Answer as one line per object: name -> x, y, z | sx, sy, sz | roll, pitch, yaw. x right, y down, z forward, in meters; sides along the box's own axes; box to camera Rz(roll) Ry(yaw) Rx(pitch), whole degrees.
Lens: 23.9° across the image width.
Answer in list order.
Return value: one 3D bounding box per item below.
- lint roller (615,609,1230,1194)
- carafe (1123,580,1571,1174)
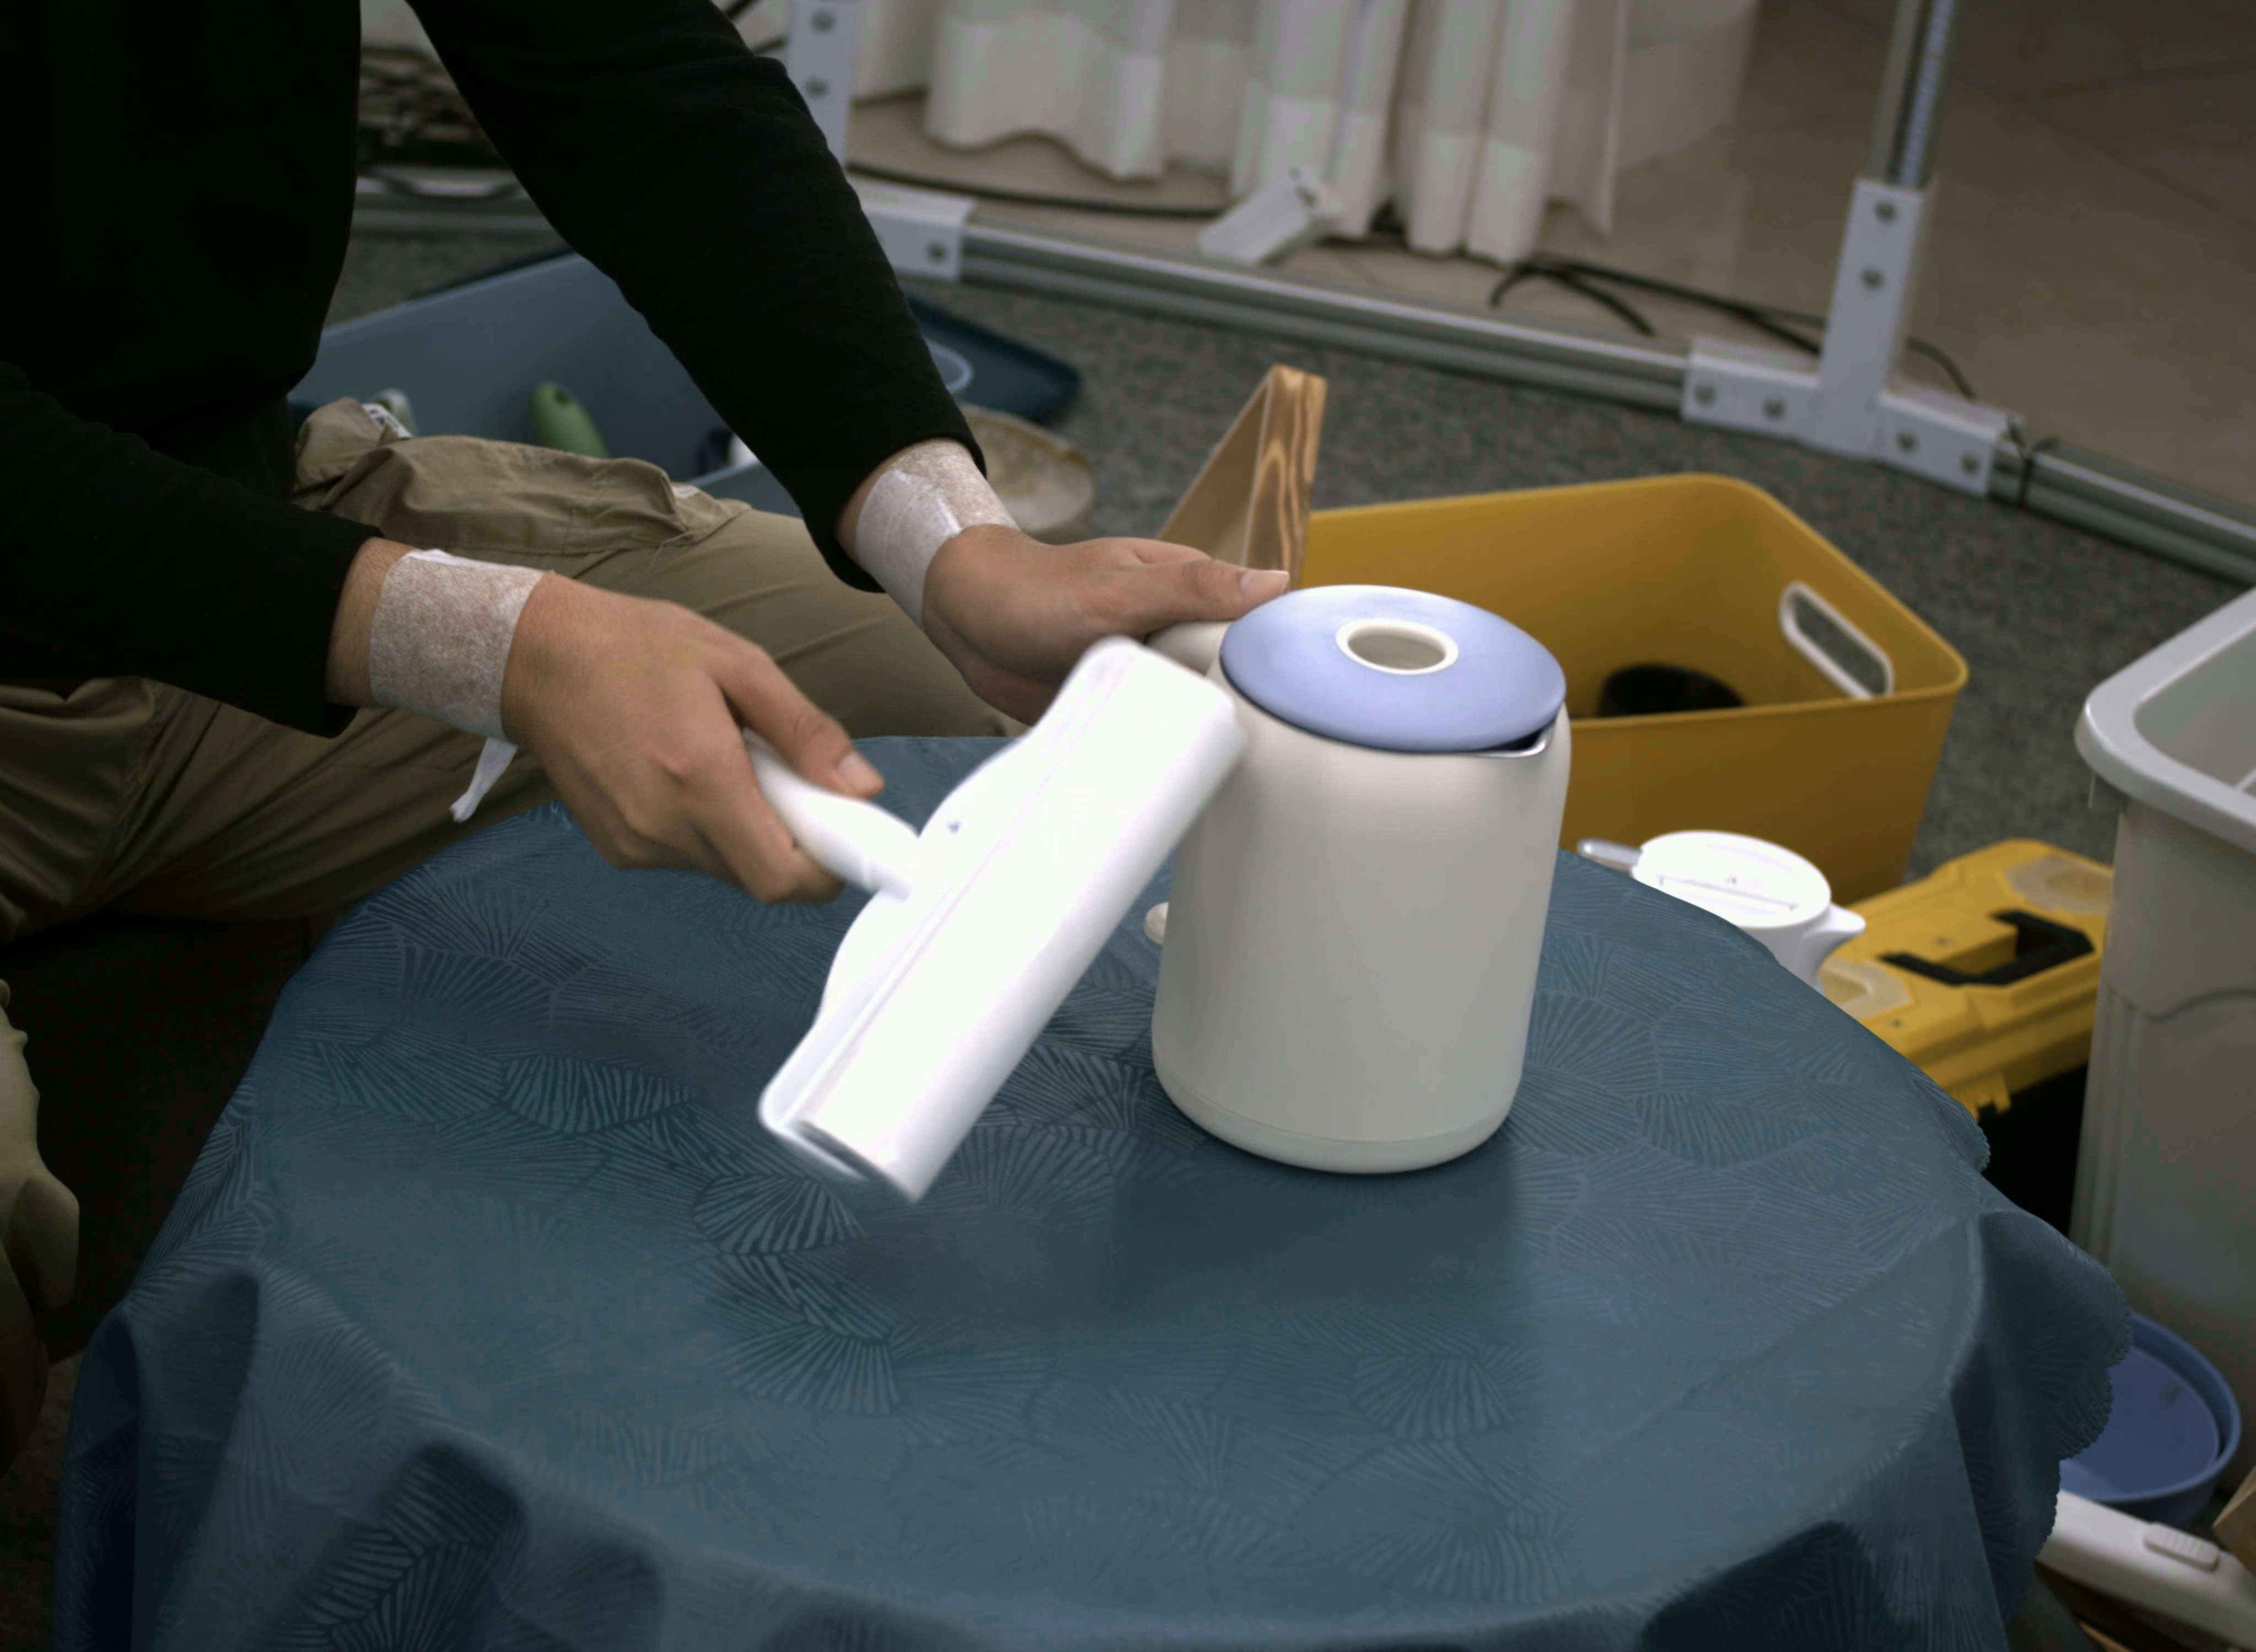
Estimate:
lint roller -> -0.098, -0.004, 1.792 | 0.227, 0.203, 0.048 | 27, -10, 35
carafe -> 0.064, 0.008, 1.854 | 0.192, 0.182, 0.131 | 27, 32, 38
